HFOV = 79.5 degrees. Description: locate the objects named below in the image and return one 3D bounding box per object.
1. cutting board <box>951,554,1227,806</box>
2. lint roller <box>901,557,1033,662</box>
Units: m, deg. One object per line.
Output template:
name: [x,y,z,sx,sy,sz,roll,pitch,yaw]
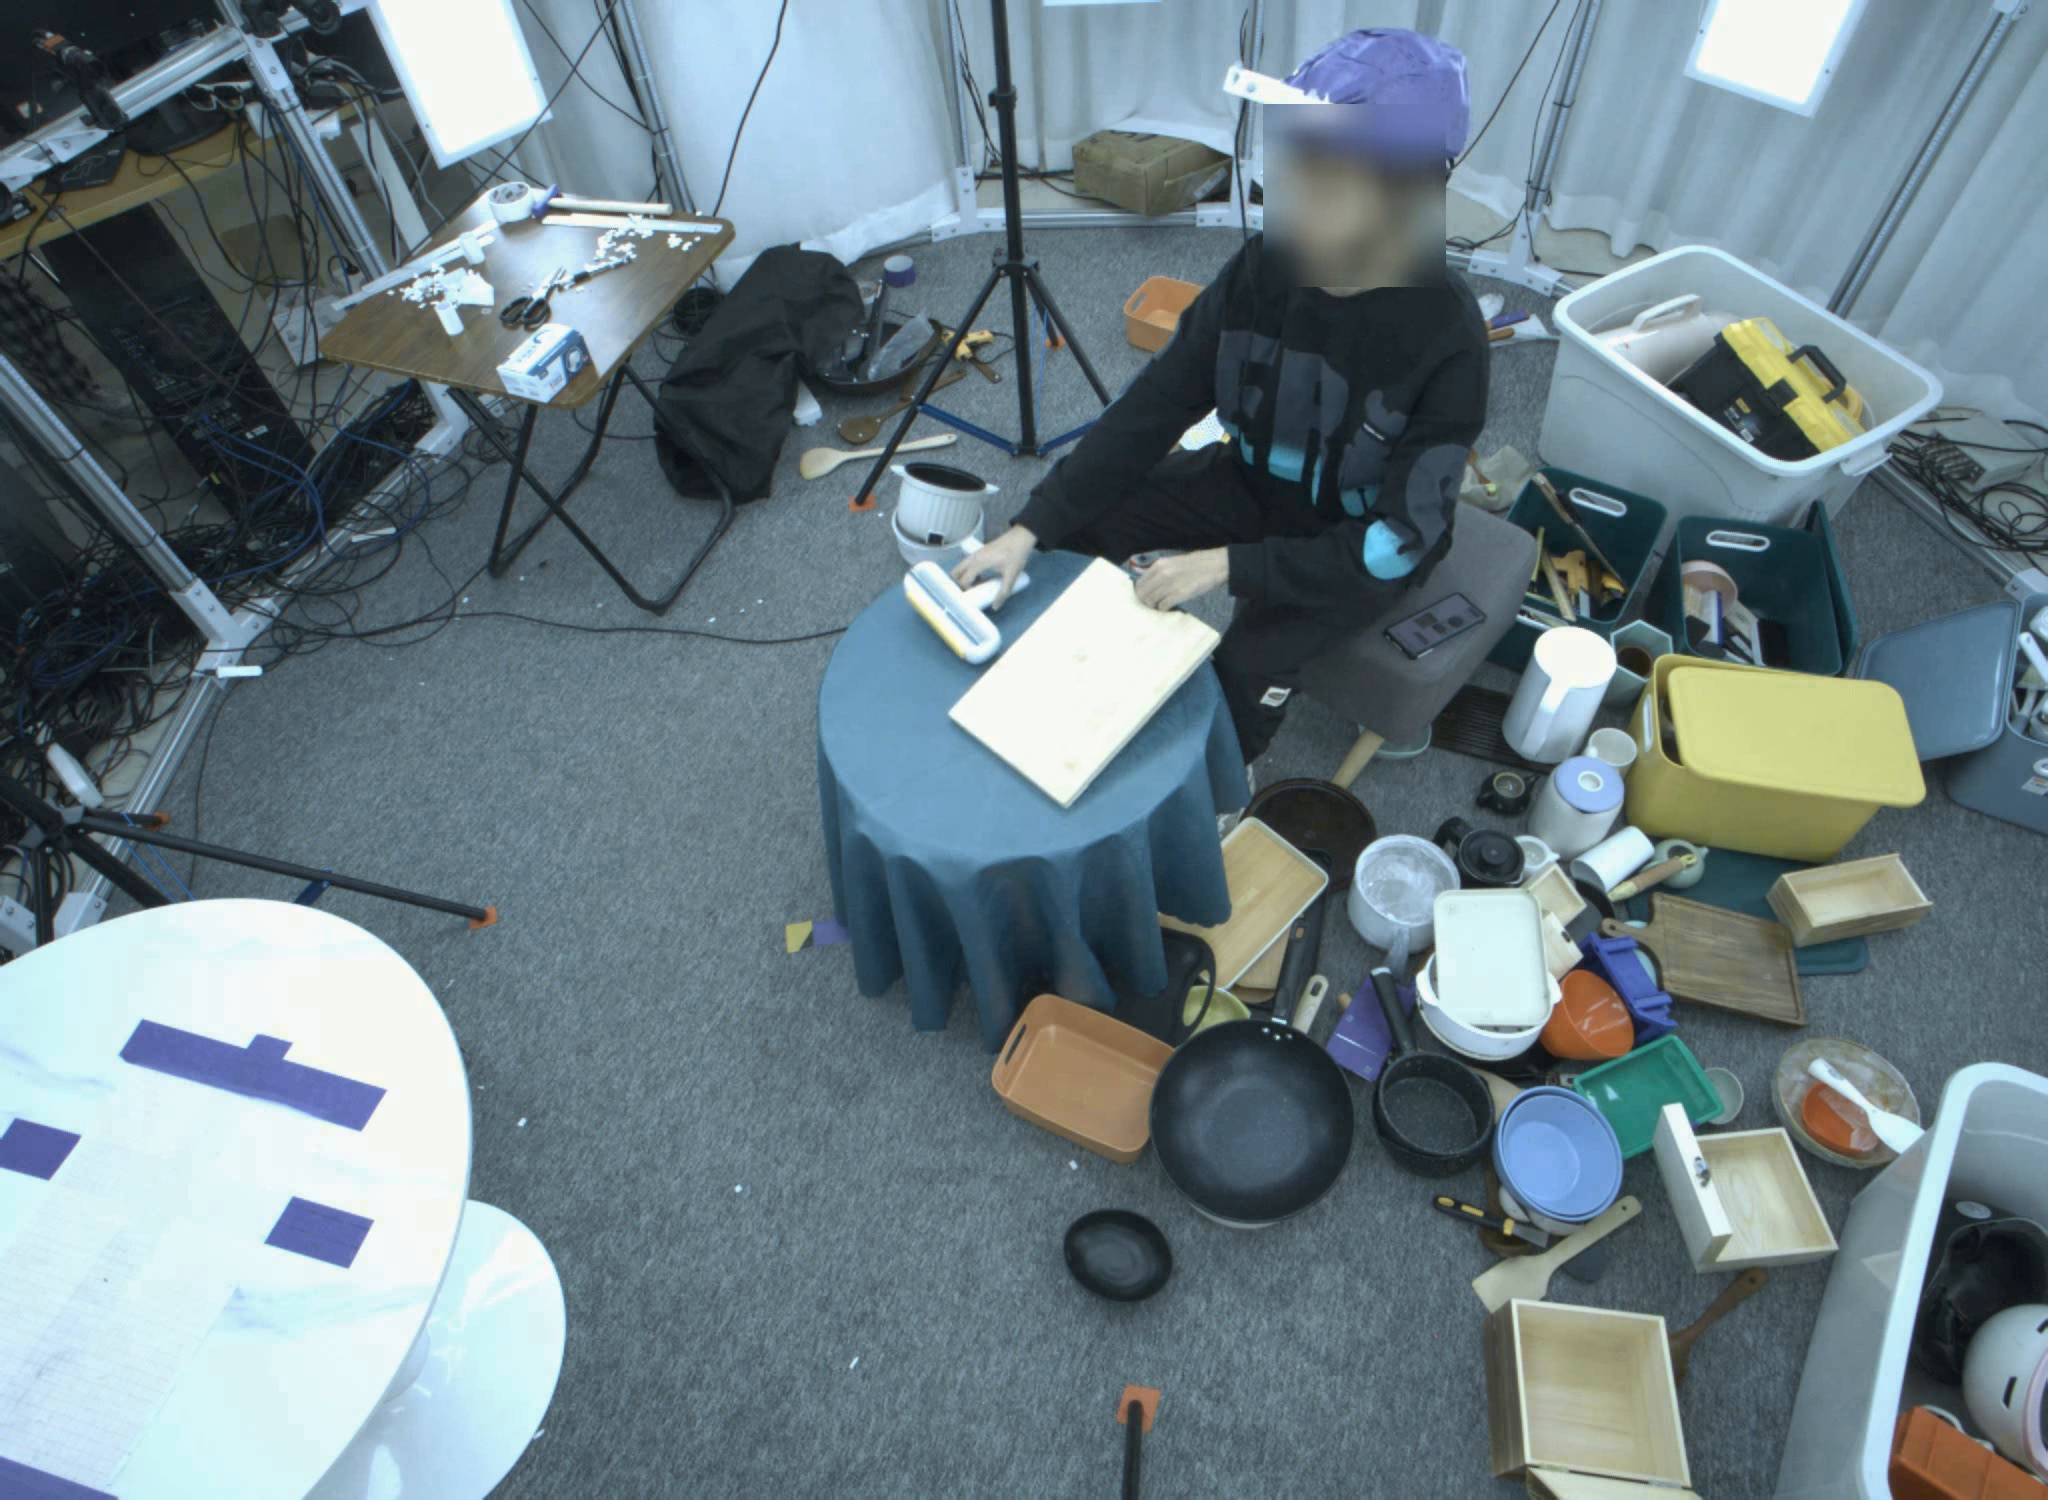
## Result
cutting board: [0.091,-0.110,1.799,0.246,0.024,0.349,37,77,25]
lint roller: [-0.069,-0.241,1.914,0.194,0.074,0.190,-32,67,-20]
